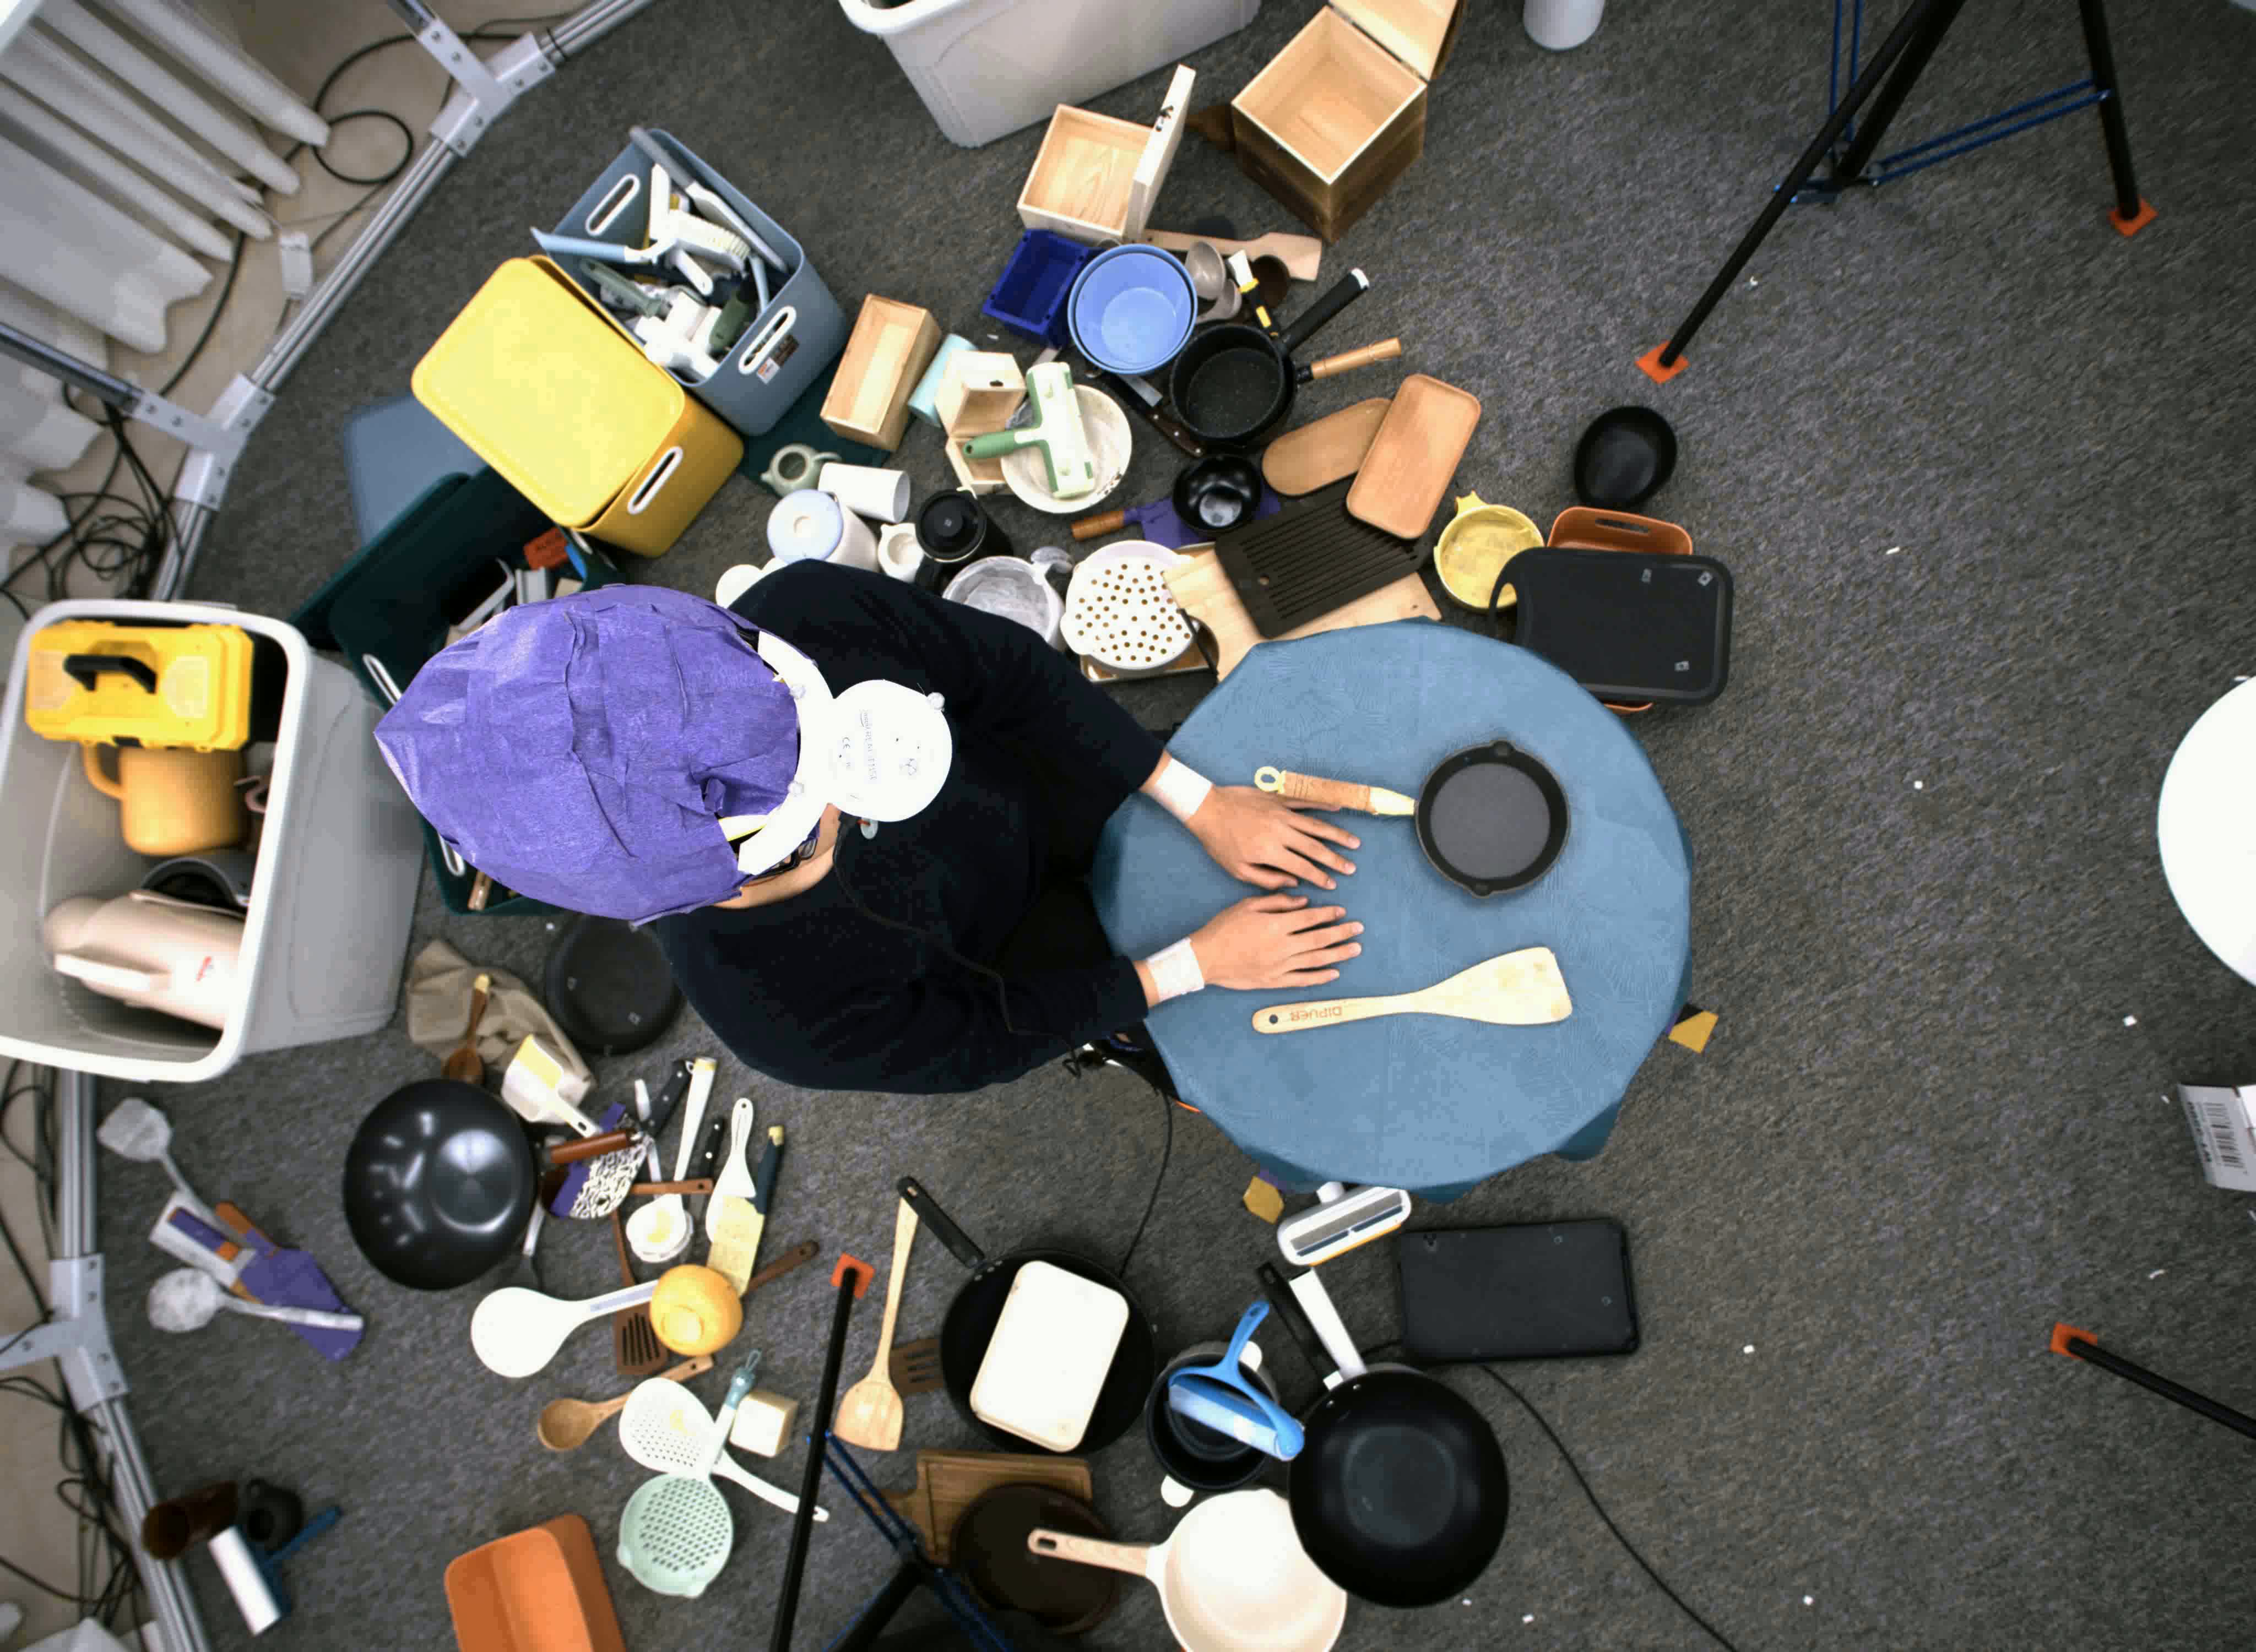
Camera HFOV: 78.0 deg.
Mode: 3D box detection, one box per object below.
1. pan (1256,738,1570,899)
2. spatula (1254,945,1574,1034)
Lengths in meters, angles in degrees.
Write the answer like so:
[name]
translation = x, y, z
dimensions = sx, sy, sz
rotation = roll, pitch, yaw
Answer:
[pan]
translation = 0.294, -0.025, 1.435
dimensions = 0.325, 0.049, 0.168
rotation = 11, 89, 9
[spatula]
translation = 0.293, 0.181, 1.441
dimensions = 0.329, 0.016, 0.079
rotation = -9, 84, 10
